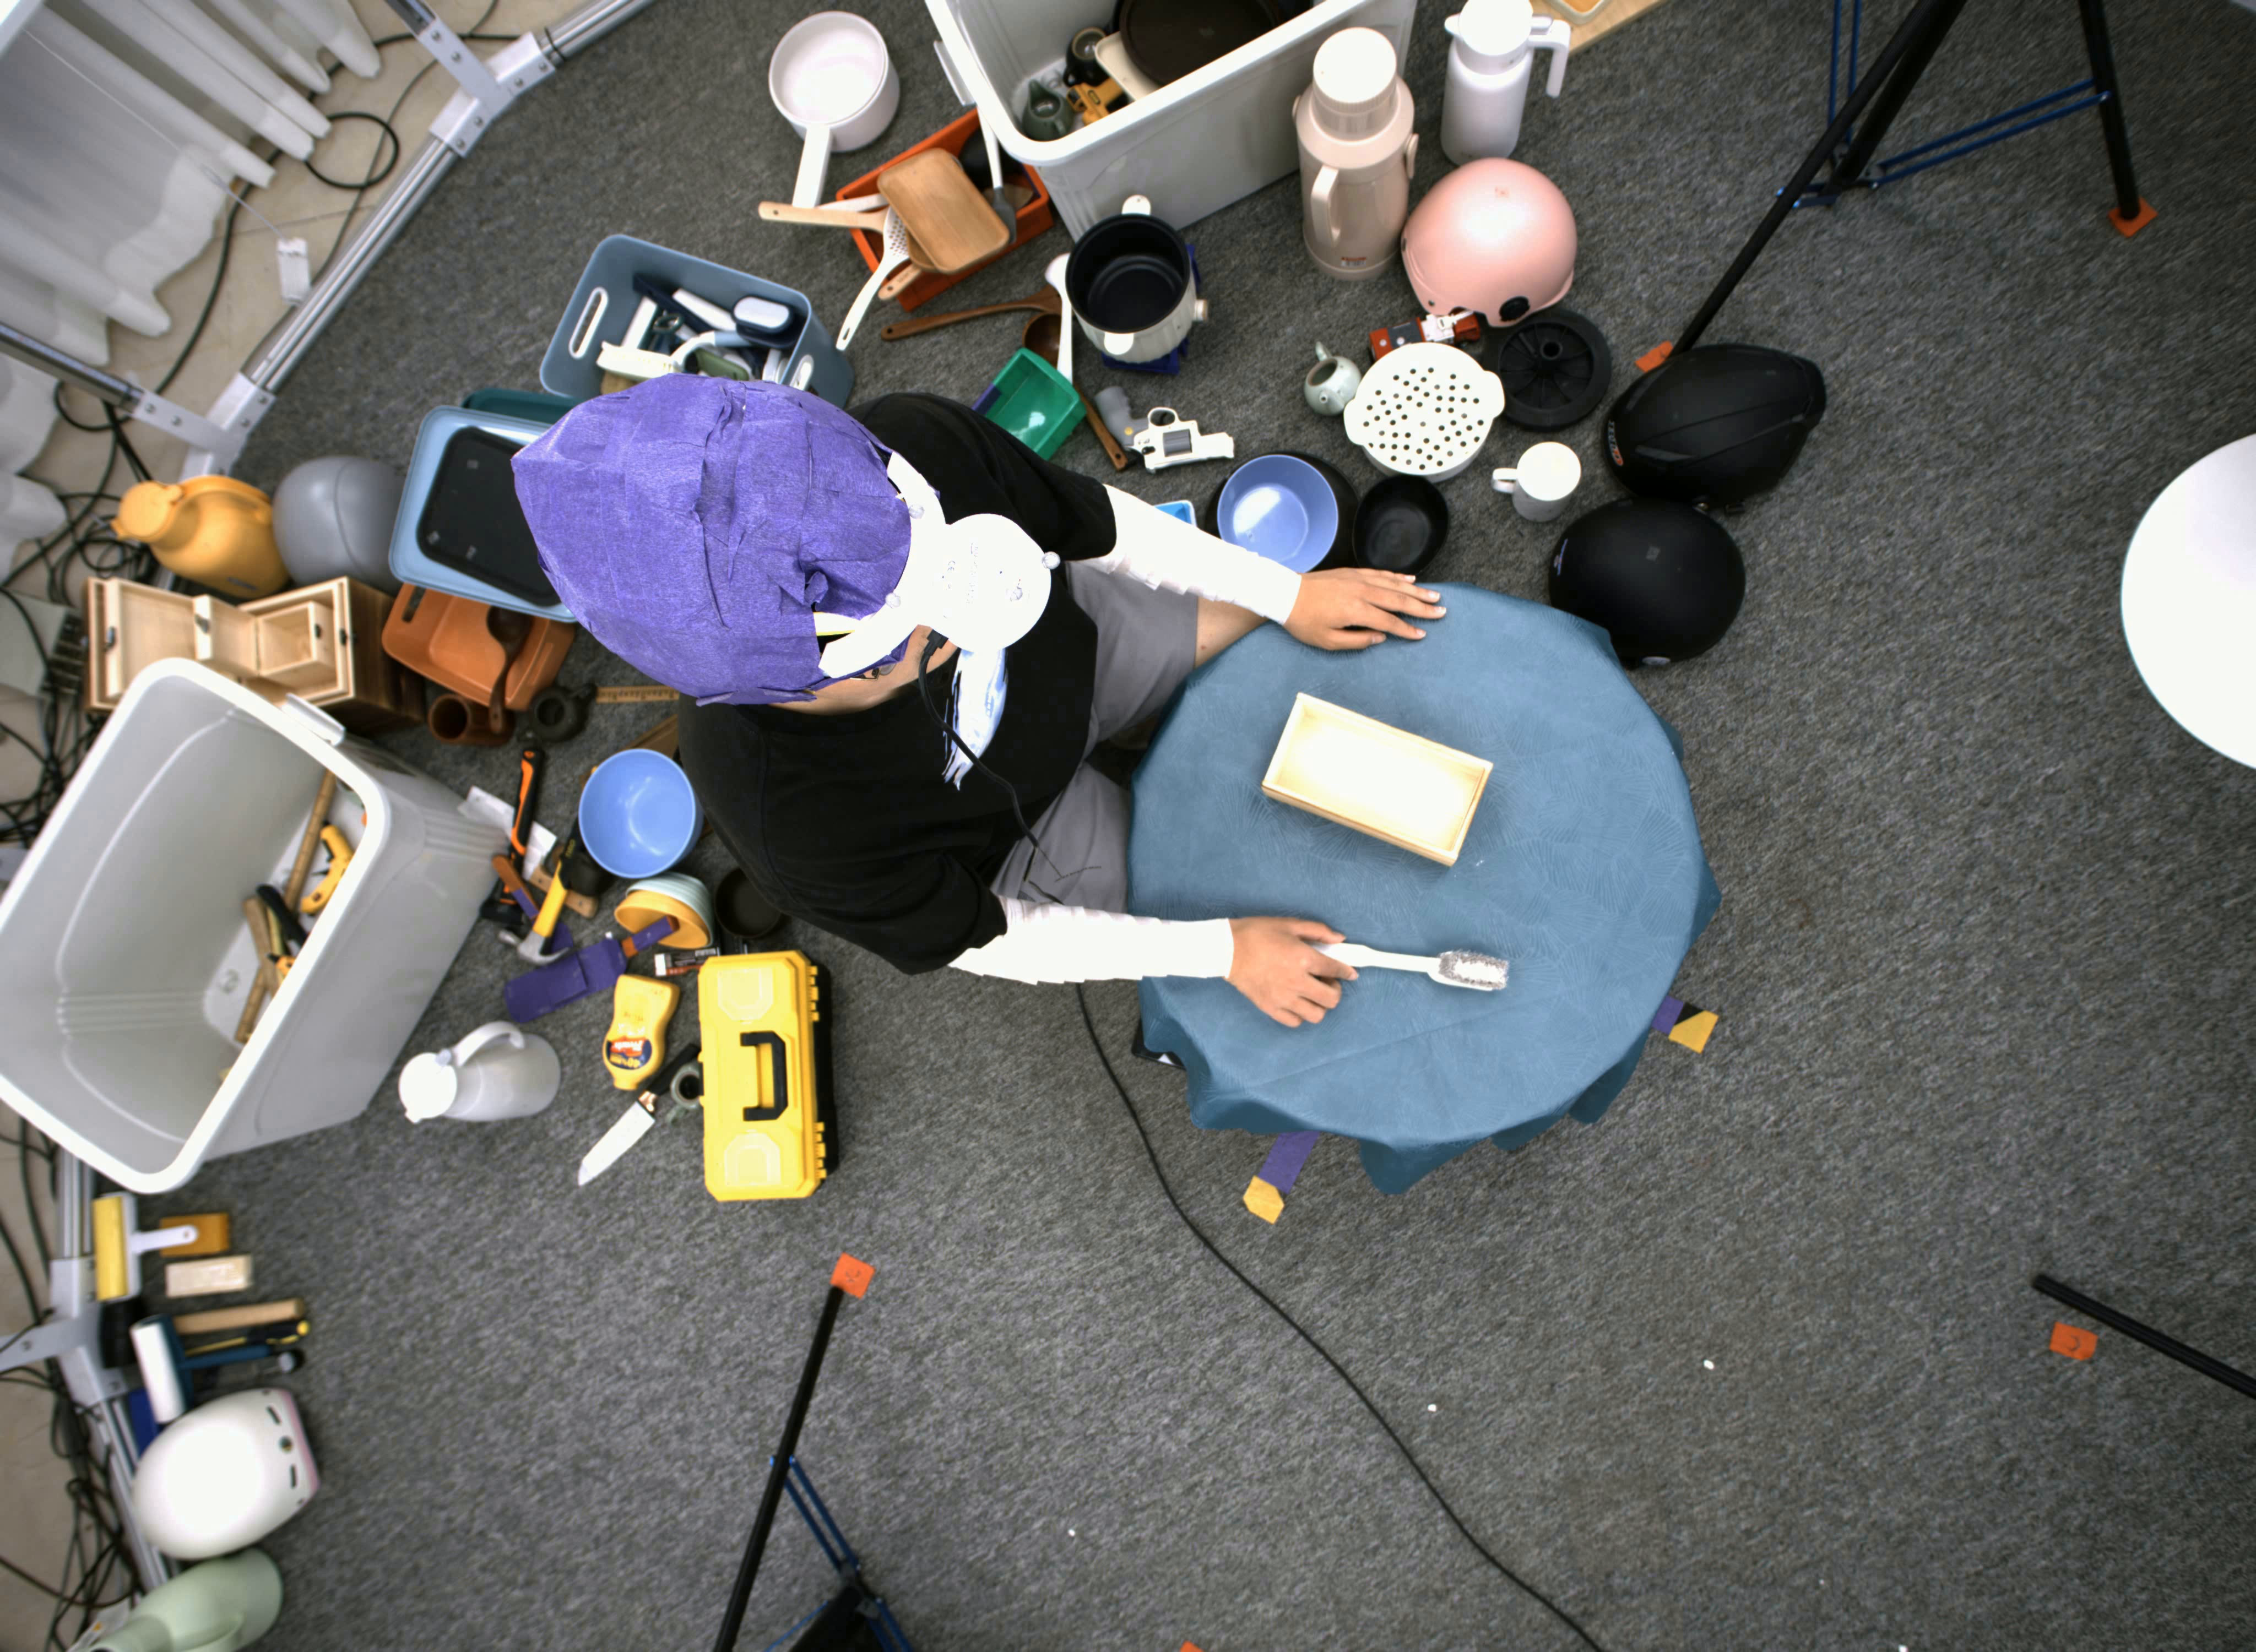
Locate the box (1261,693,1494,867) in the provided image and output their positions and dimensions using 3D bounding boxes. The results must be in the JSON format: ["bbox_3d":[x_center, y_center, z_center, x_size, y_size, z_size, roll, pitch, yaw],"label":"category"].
[{"bbox_3d":[0.258,-0.048,1.427,0.211,0.080,0.107,21,90,12],"label":"box"}]

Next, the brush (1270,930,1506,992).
[{"bbox_3d":[0.267,0.135,1.430,0.244,0.050,0.034,9,83,10],"label":"brush"}]
